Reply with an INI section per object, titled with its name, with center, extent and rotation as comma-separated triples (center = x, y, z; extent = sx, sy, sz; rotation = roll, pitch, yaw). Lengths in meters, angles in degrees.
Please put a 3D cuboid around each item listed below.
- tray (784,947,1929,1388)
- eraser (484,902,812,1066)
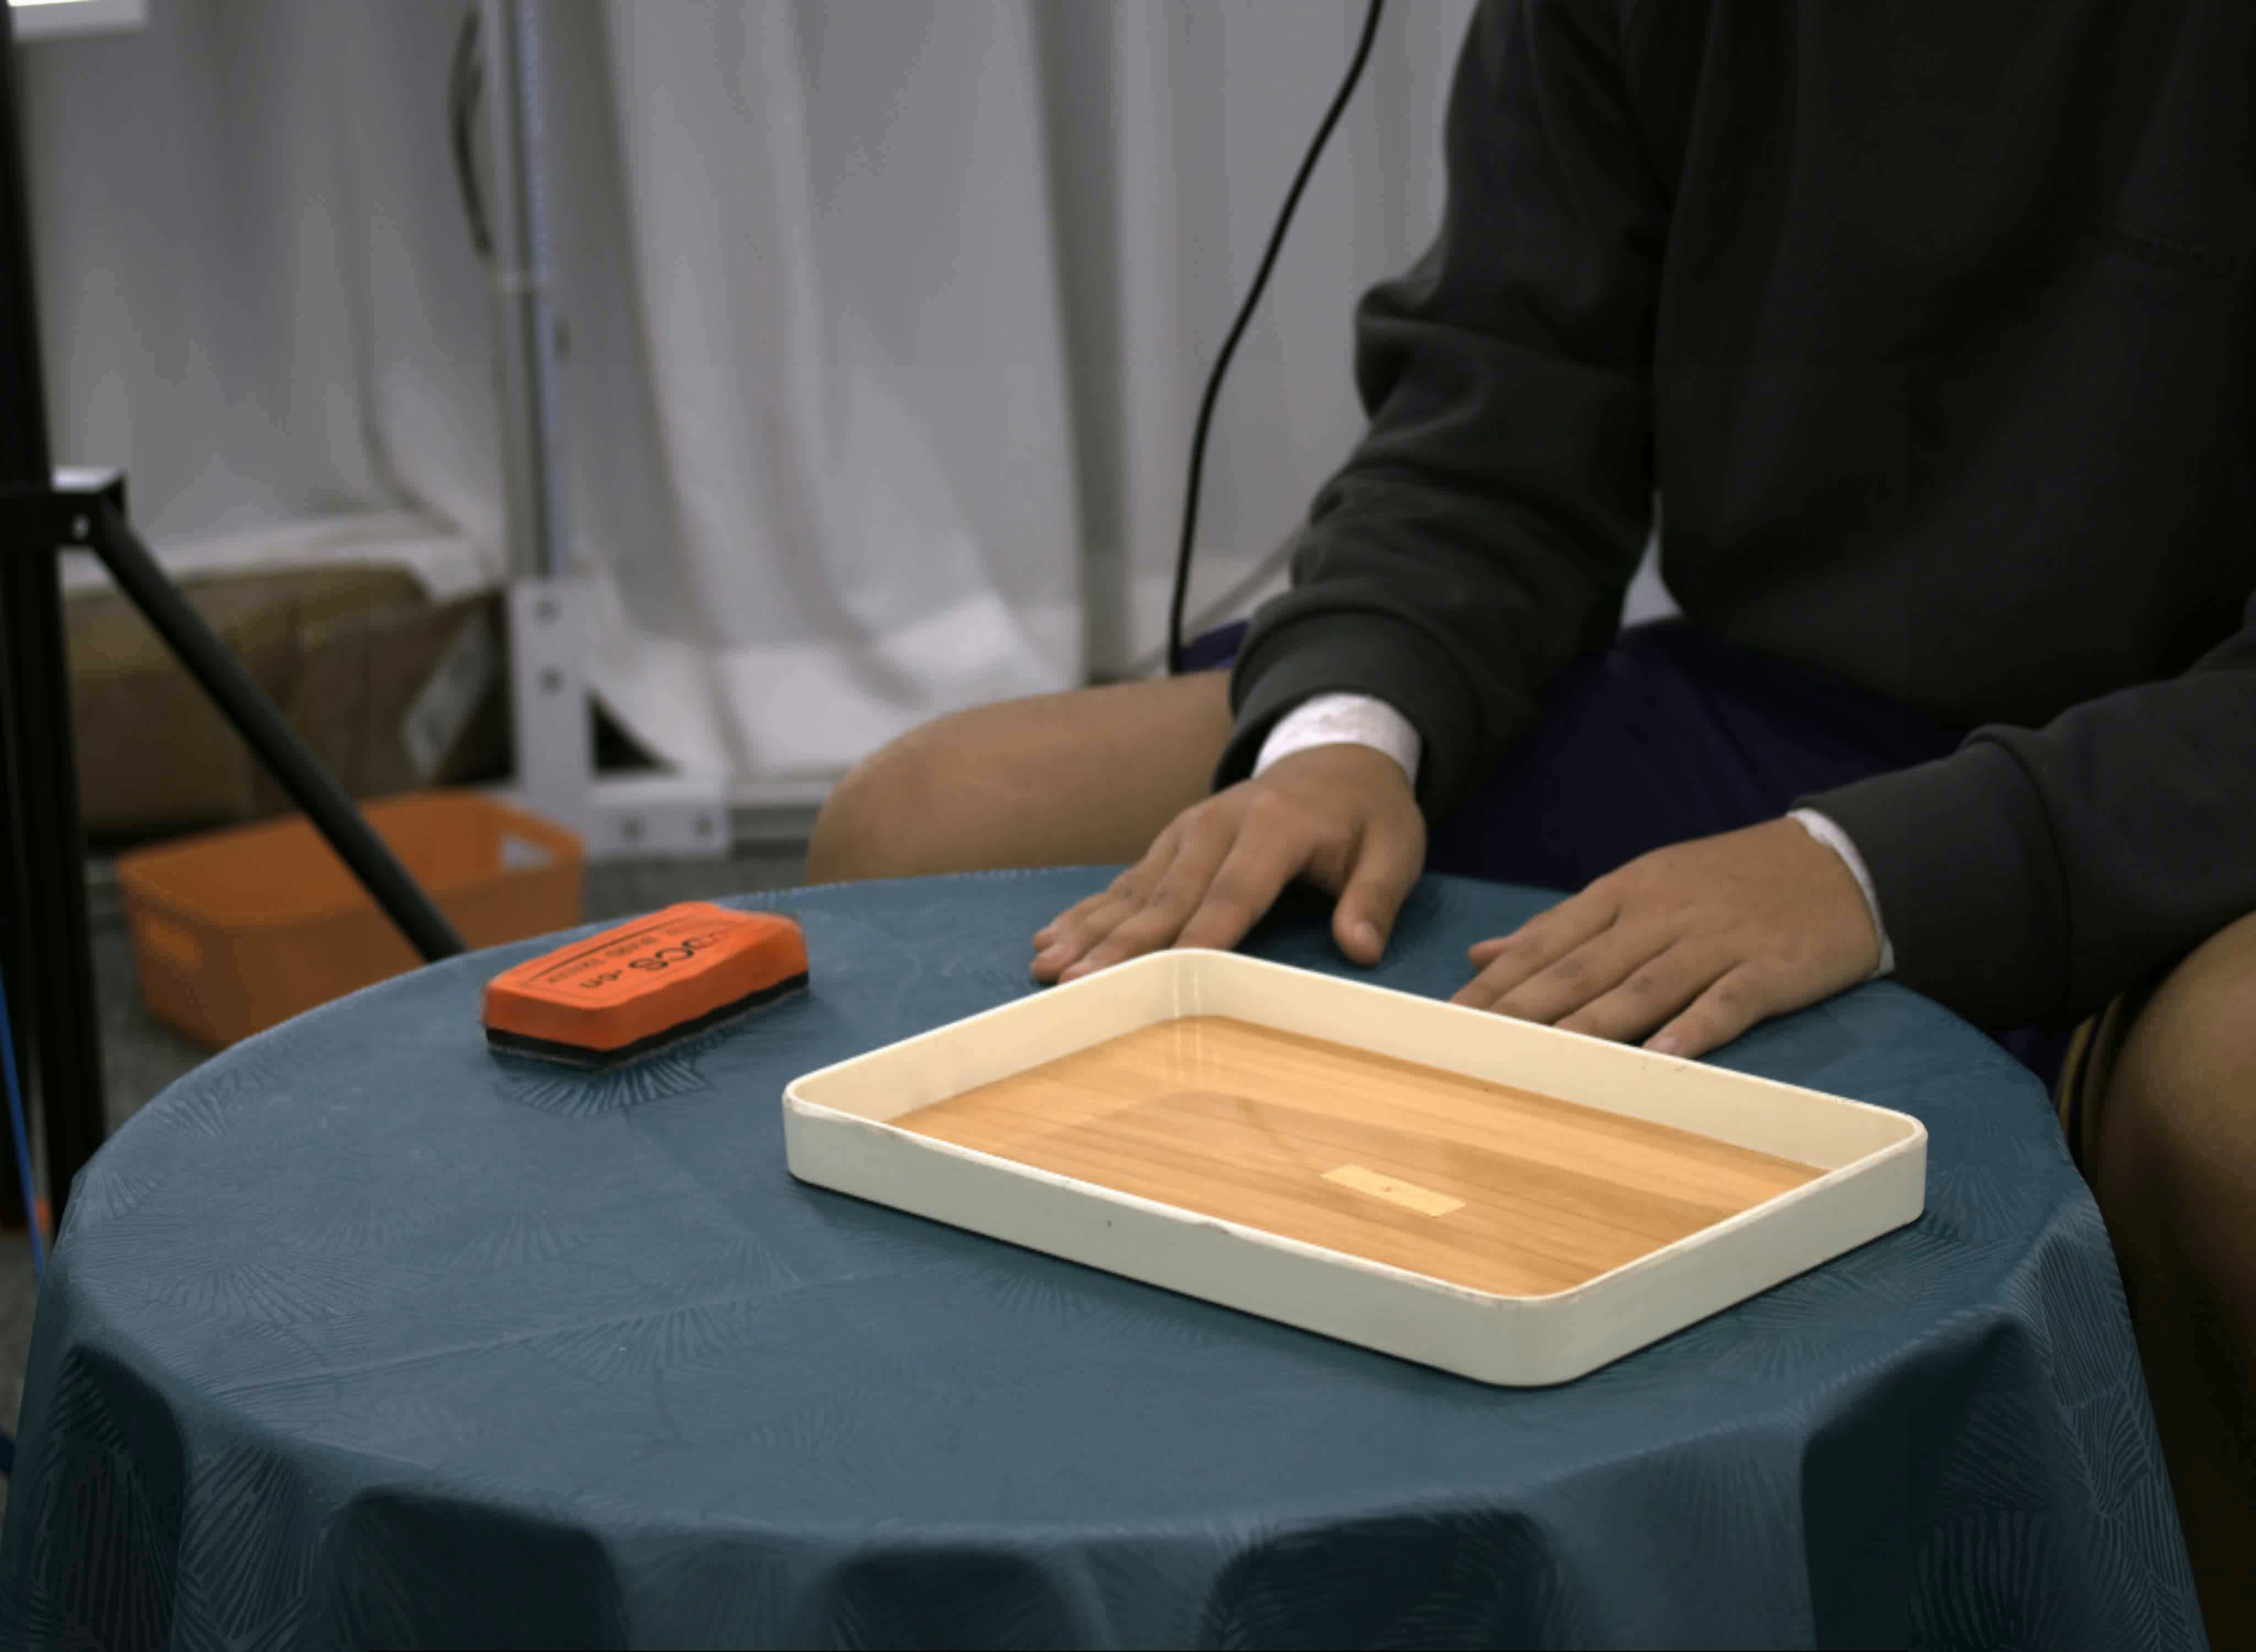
[tray]
center = 0.063, 0.095, 1.547
extent = 0.307, 0.027, 0.187
rotation = 13, 22, 43
[eraser]
center = -0.156, 0.051, 1.742
extent = 0.060, 0.023, 0.106
rotation = 8, 18, 37
